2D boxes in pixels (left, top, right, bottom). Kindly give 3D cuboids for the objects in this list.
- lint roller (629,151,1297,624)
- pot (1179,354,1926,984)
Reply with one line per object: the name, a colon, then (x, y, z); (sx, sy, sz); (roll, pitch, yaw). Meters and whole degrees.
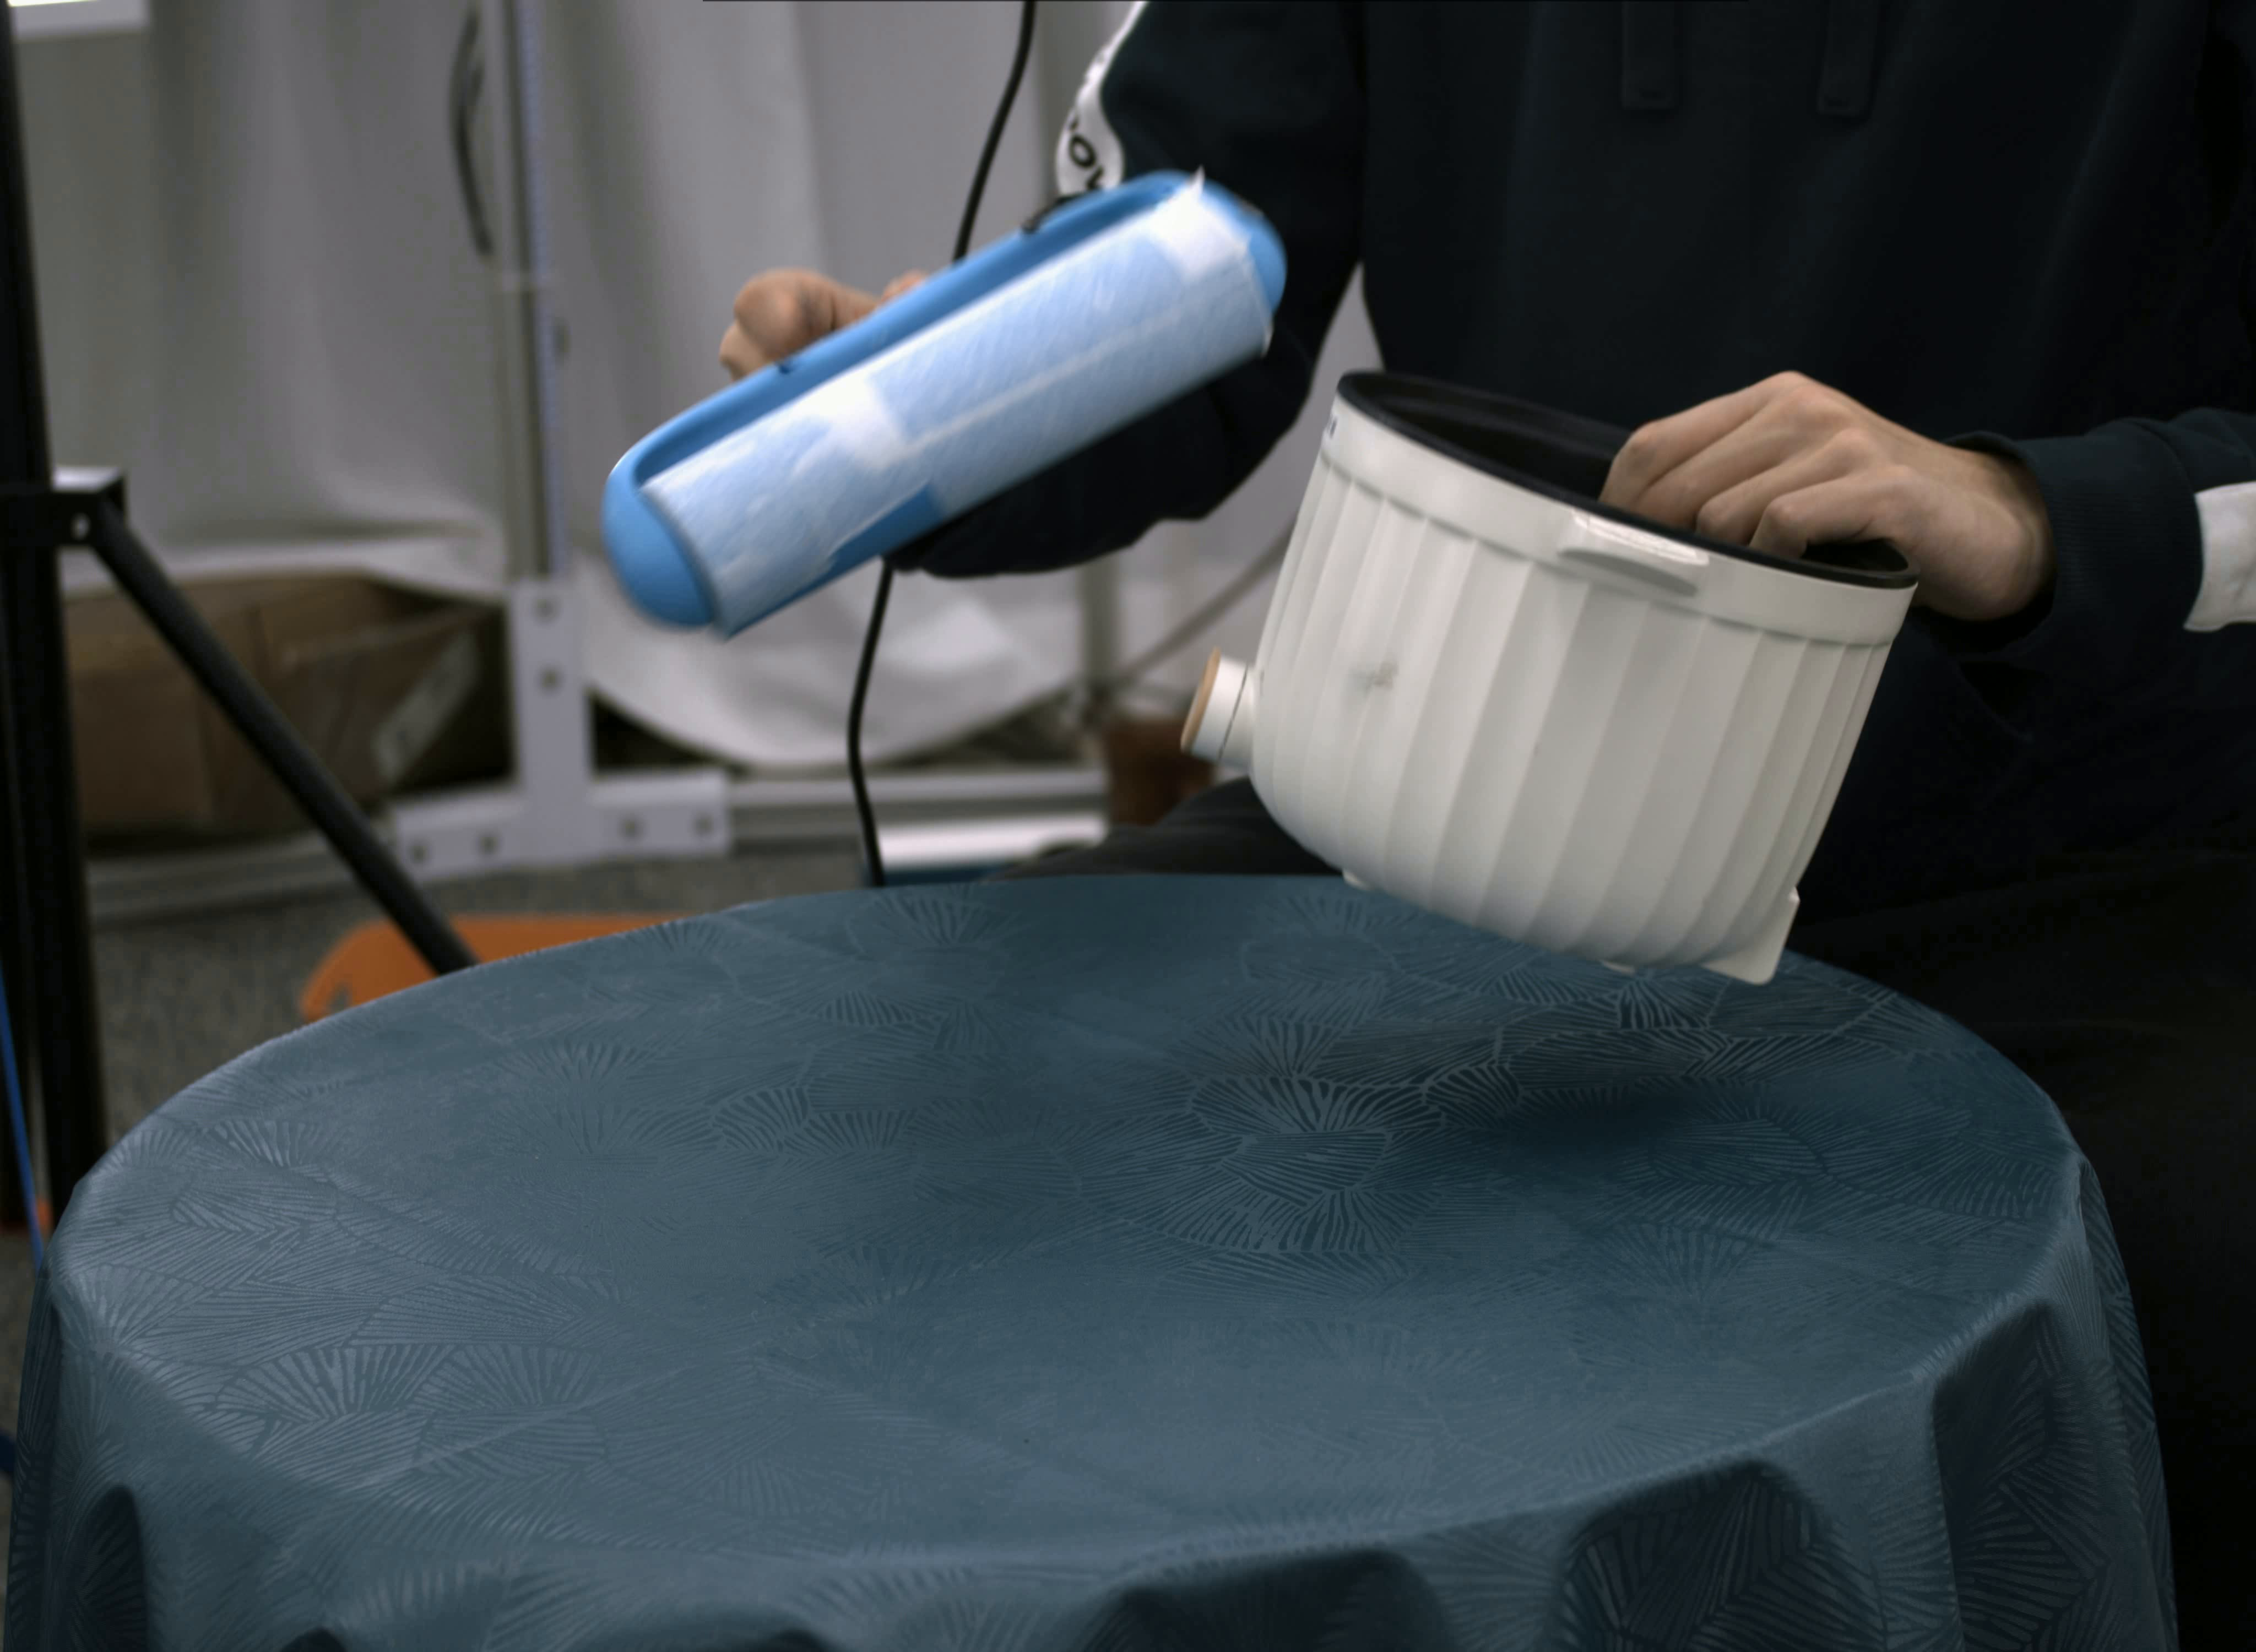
lint roller: (-0.069, -0.133, 1.662); (0.226, 0.067, 0.183); (-33, 13, -17)
pot: (0.123, -0.046, 1.579); (0.189, 0.143, 0.240); (22, 11, -2)
